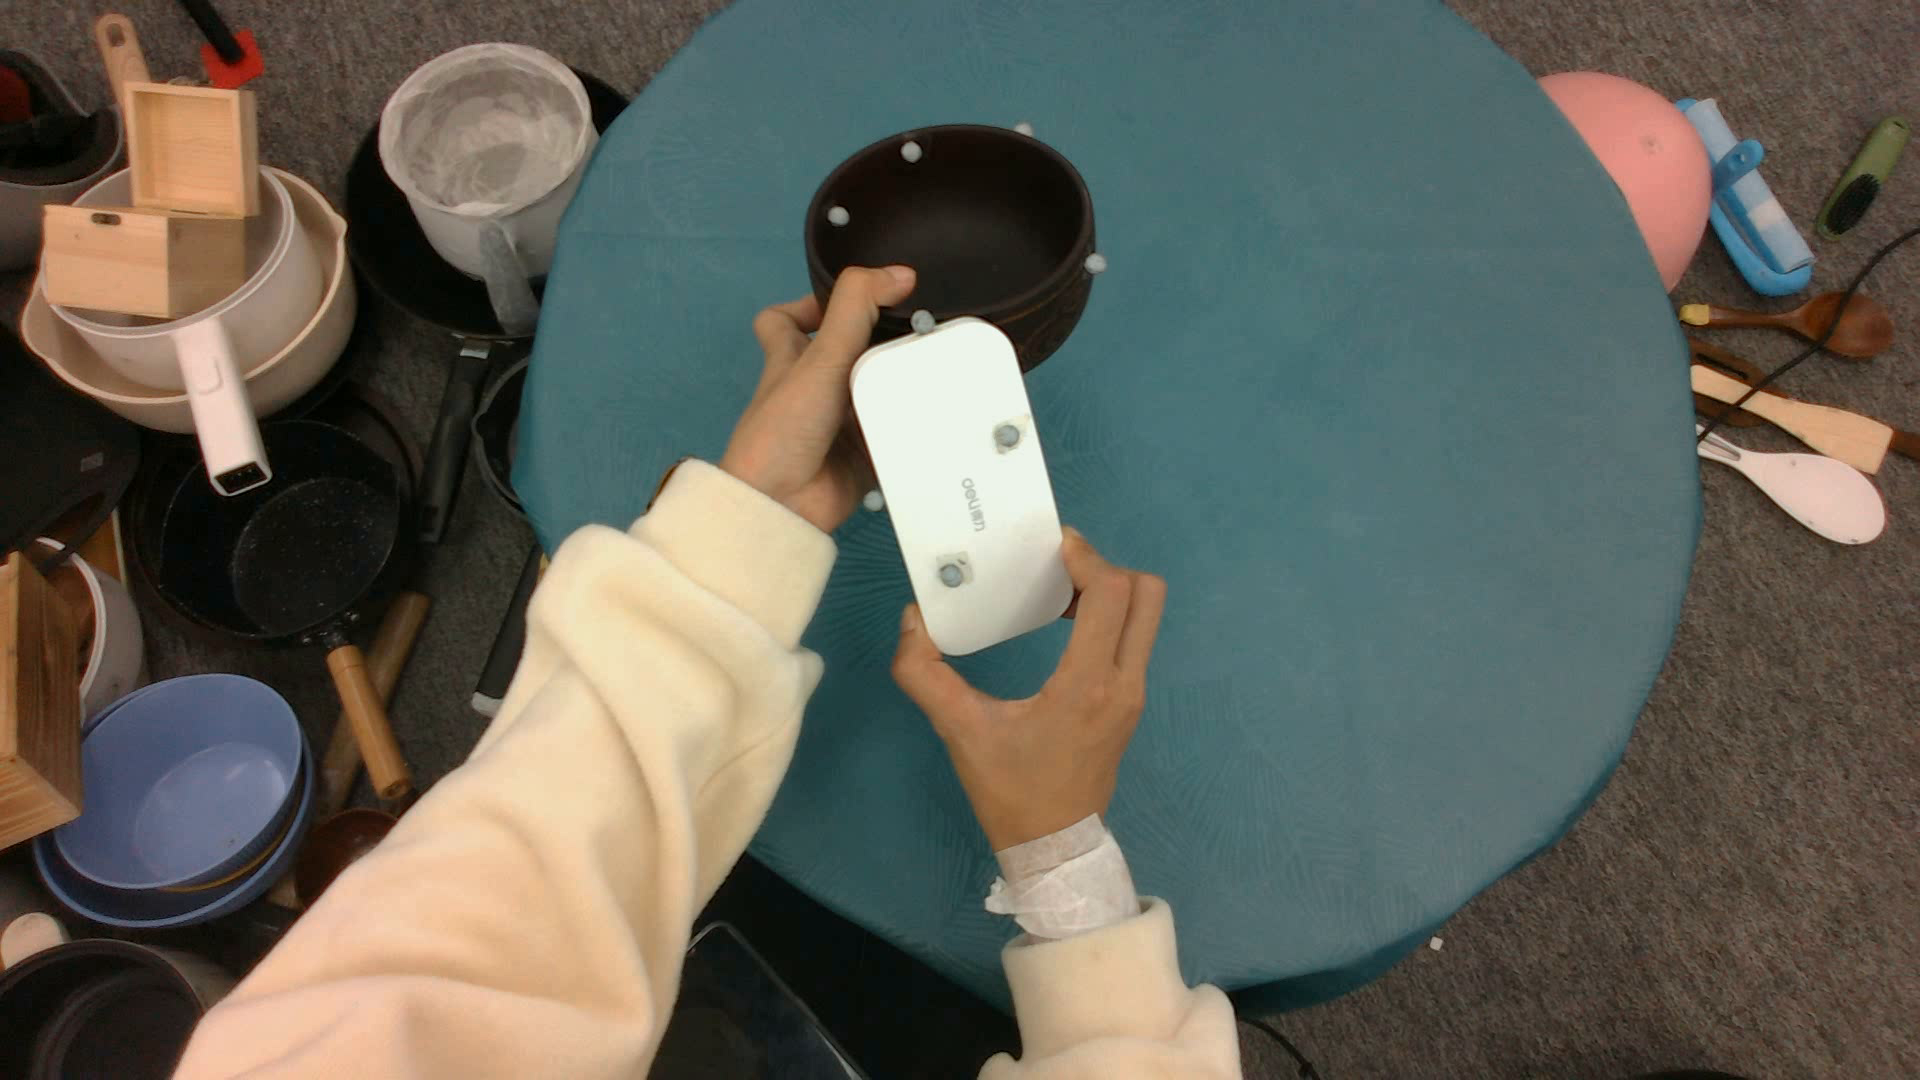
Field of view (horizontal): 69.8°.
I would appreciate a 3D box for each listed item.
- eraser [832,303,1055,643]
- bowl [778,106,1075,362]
[{"bbox_3d":[-0.007,-0.023,0.523,0.063,0.034,0.131,-19,117,-8],"label":"eraser"},{"bbox_3d":[-0.011,-0.115,0.568,0.118,0.069,0.118,-3,56,5],"label":"bowl"}]
